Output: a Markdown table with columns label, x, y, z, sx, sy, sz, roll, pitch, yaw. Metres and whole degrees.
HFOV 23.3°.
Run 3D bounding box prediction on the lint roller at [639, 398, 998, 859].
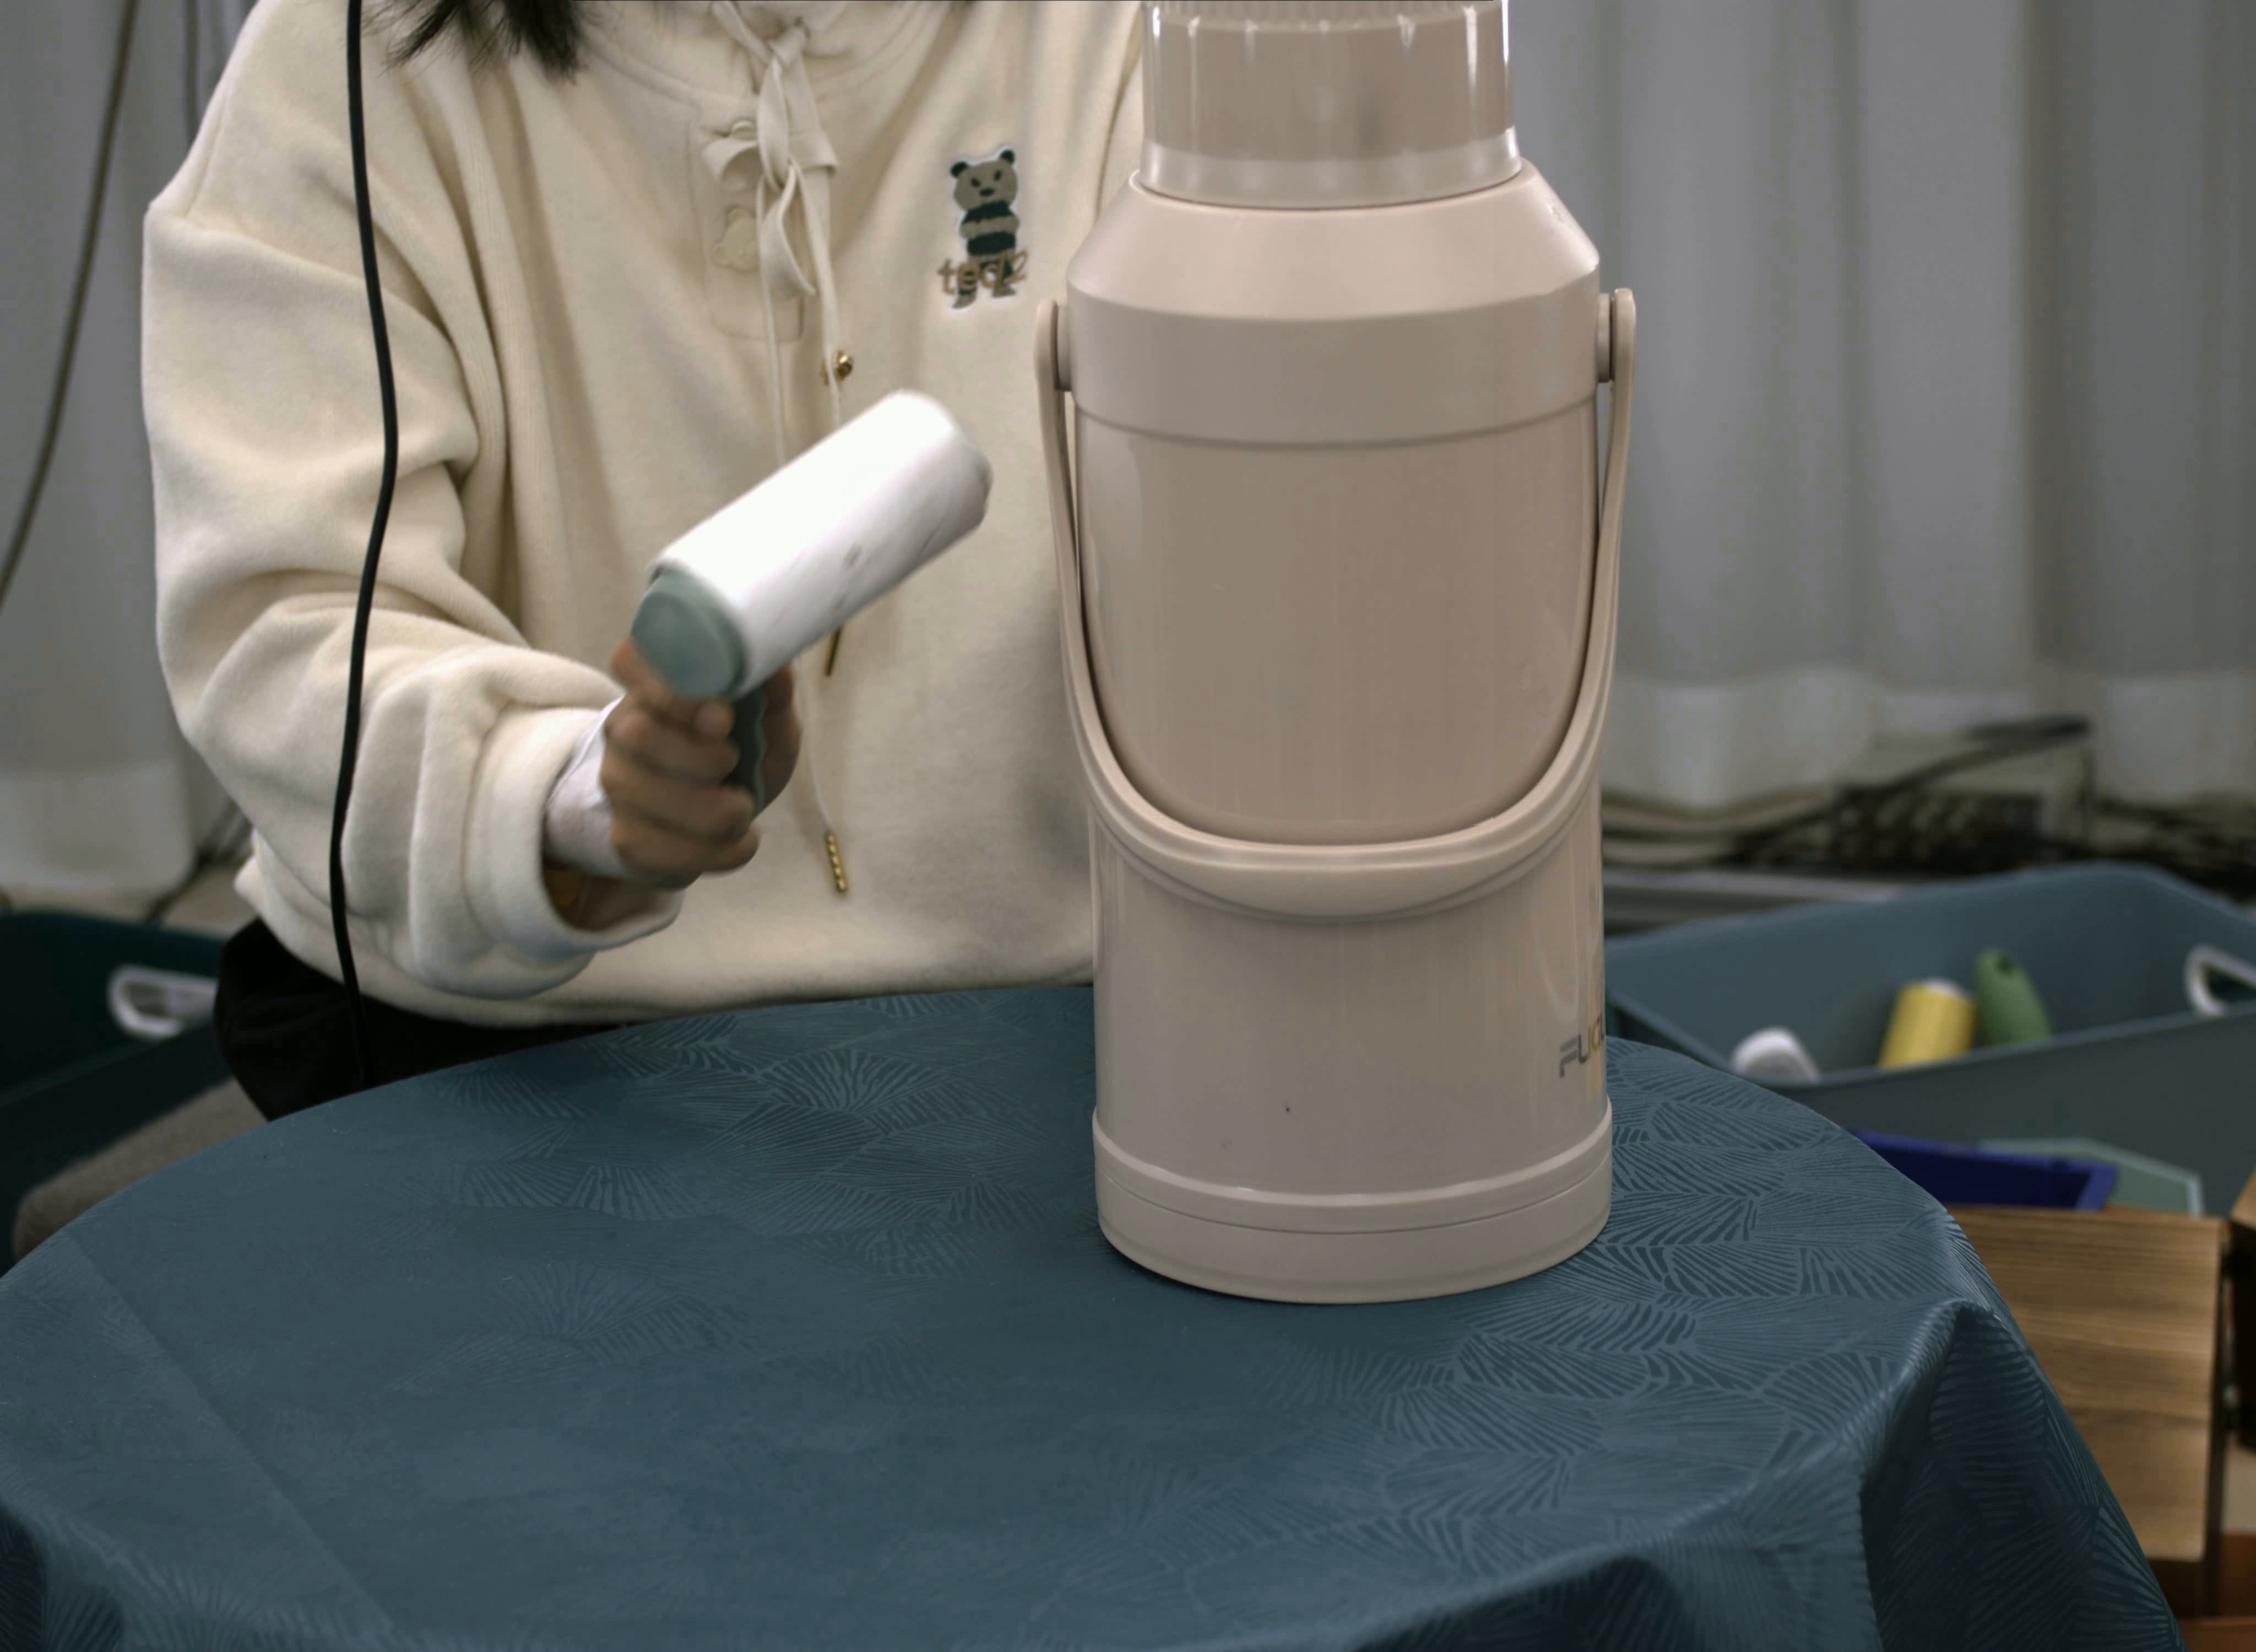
| label | x | y | z | sx | sy | sz | roll | pitch | yaw |
| --- | --- | --- | --- | --- | --- | --- | --- | --- | --- |
| lint roller | -0.110 | -0.052 | 1.701 | 0.117 | 0.048 | 0.196 | -40 | -8 | -30 |

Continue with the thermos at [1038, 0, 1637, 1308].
| label | x | y | z | sx | sy | sz | roll | pitch | yaw |
| --- | --- | --- | --- | --- | --- | --- | --- | --- | --- |
| thermos | 0.065 | -0.075 | 1.638 | 0.175 | 0.404 | 0.208 | -1 | 15 | 5 |
